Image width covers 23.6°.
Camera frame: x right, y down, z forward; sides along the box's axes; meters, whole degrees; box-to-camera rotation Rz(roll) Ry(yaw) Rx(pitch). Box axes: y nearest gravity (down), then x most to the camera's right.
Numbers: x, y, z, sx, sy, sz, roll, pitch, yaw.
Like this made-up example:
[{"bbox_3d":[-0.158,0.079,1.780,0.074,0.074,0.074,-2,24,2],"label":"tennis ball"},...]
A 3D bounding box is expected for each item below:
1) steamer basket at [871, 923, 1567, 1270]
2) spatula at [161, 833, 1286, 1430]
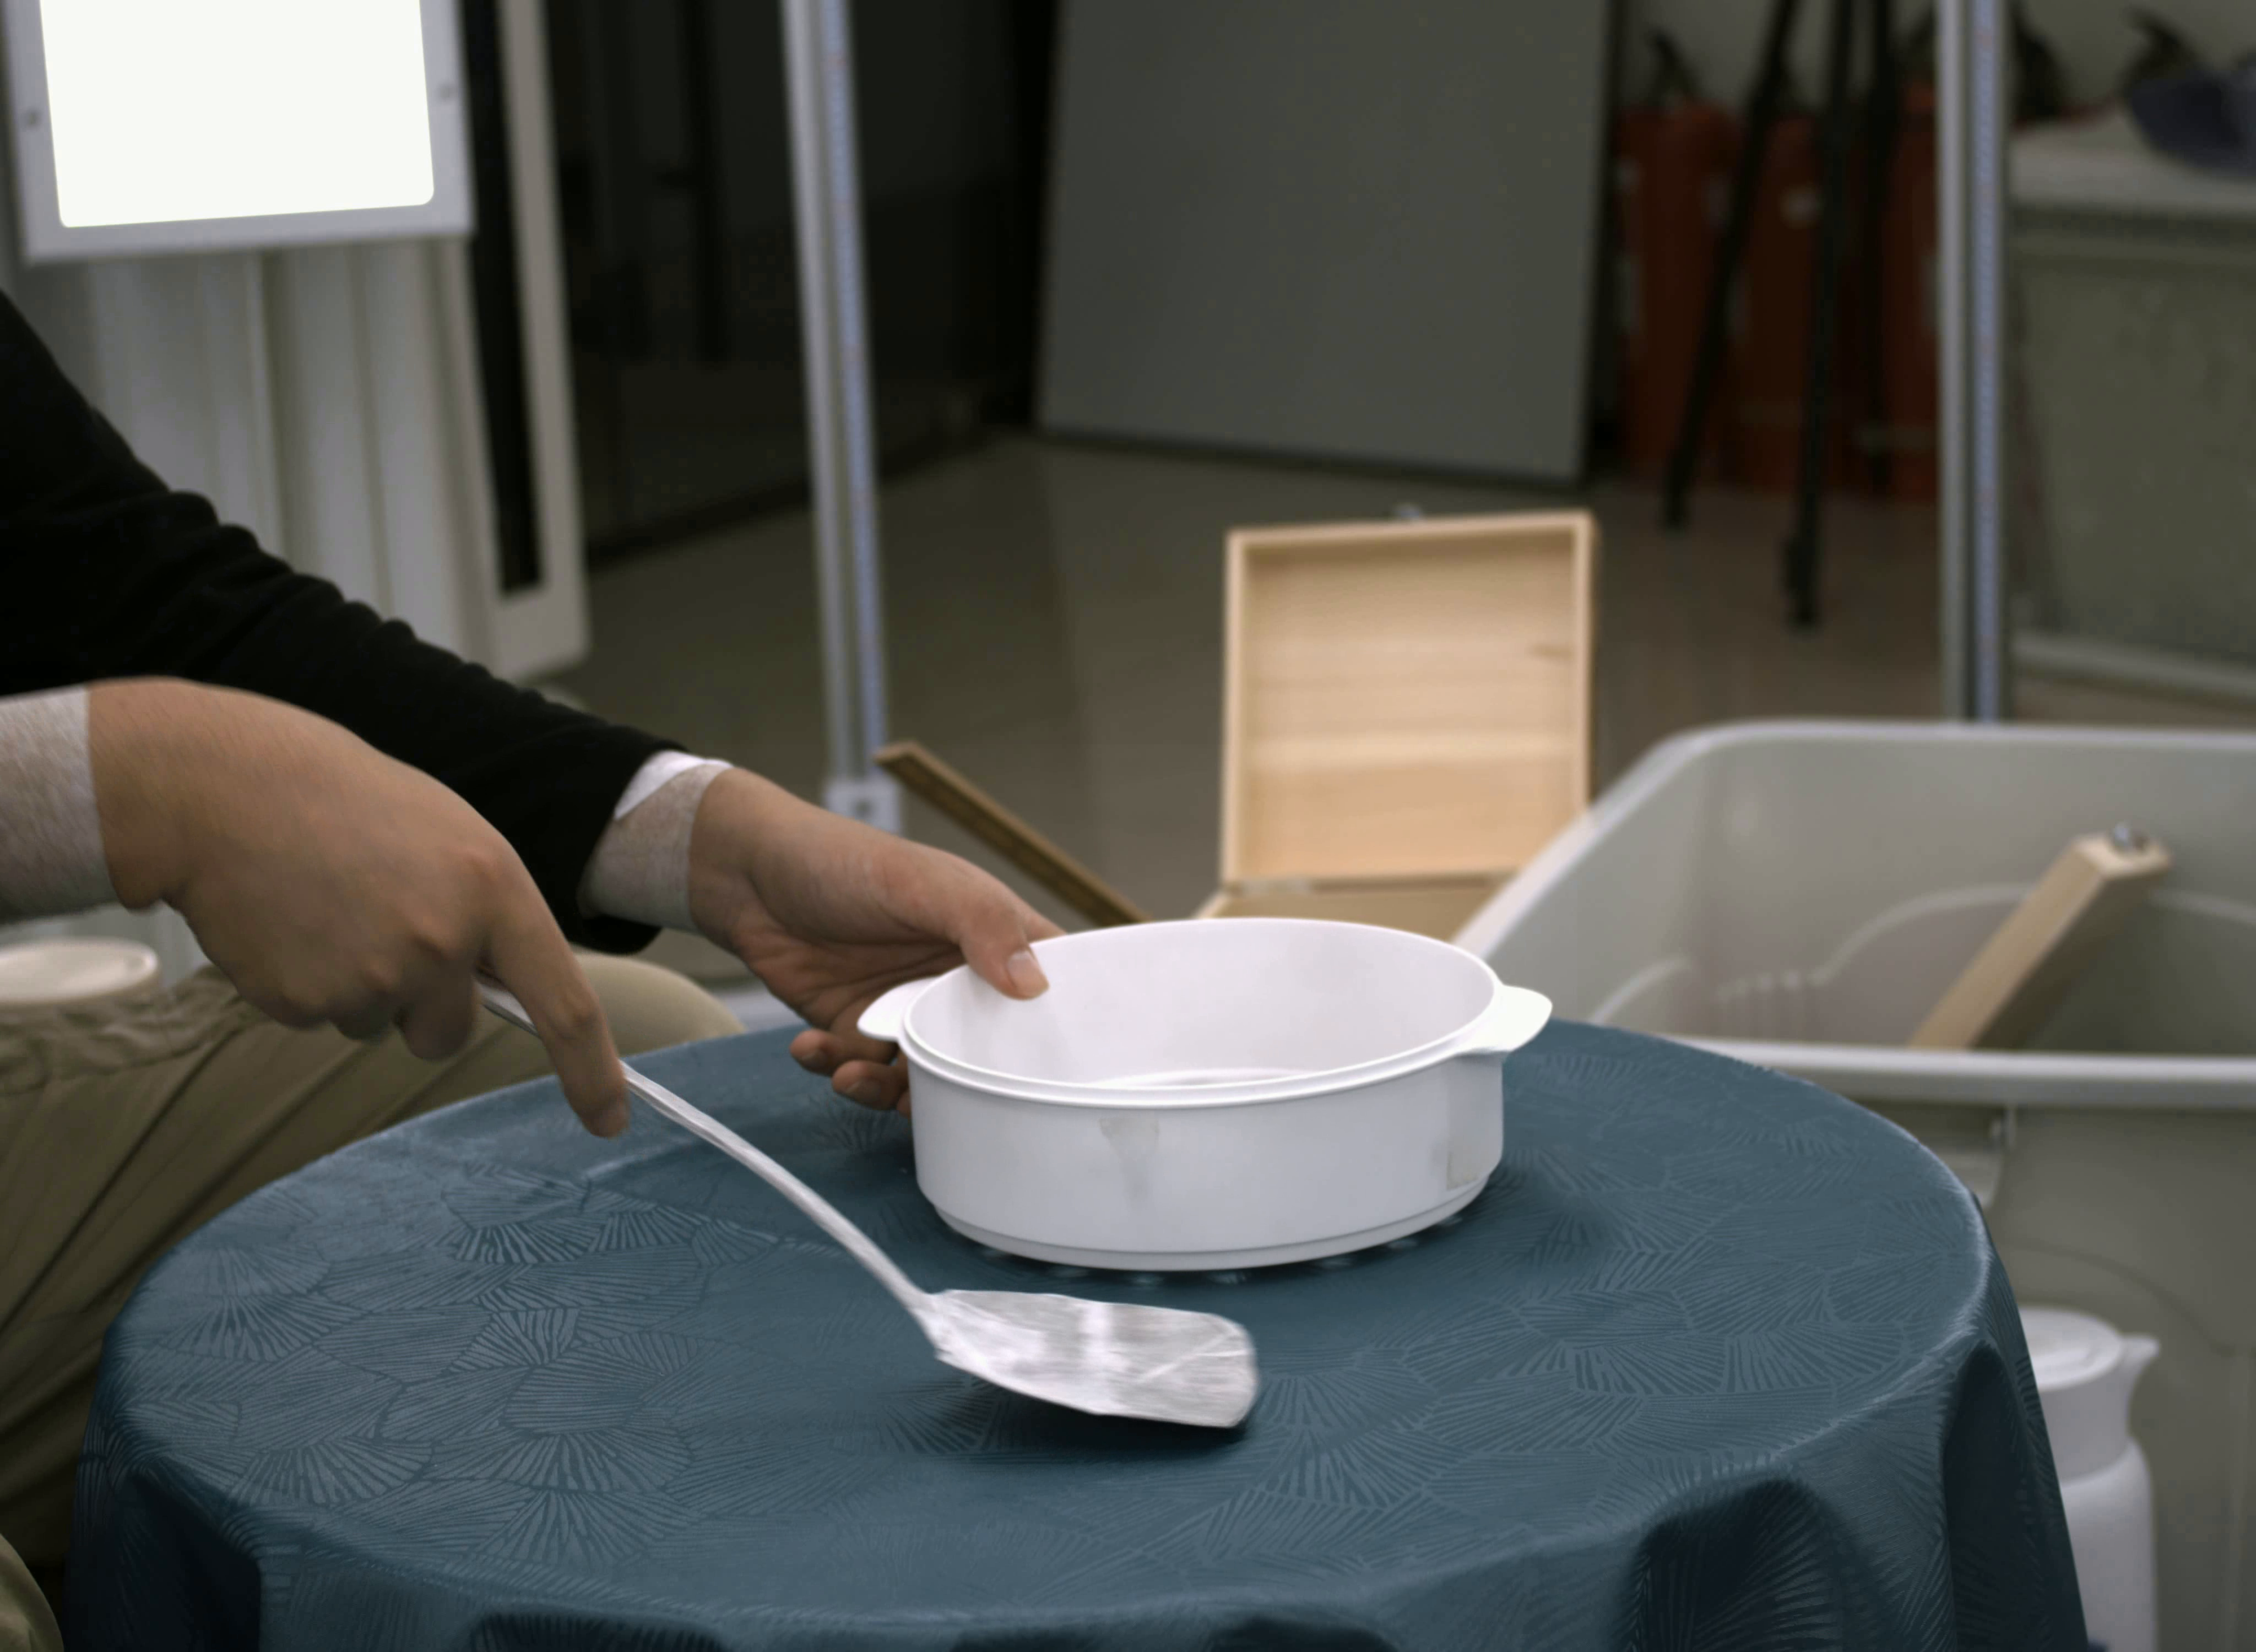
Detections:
[{"bbox_3d":[0.031,0.087,1.752,0.230,0.070,0.200,-1,13,18],"label":"steamer basket"},{"bbox_3d":[-0.118,0.084,1.568,0.362,0.045,0.098,32,15,-3],"label":"spatula"}]
